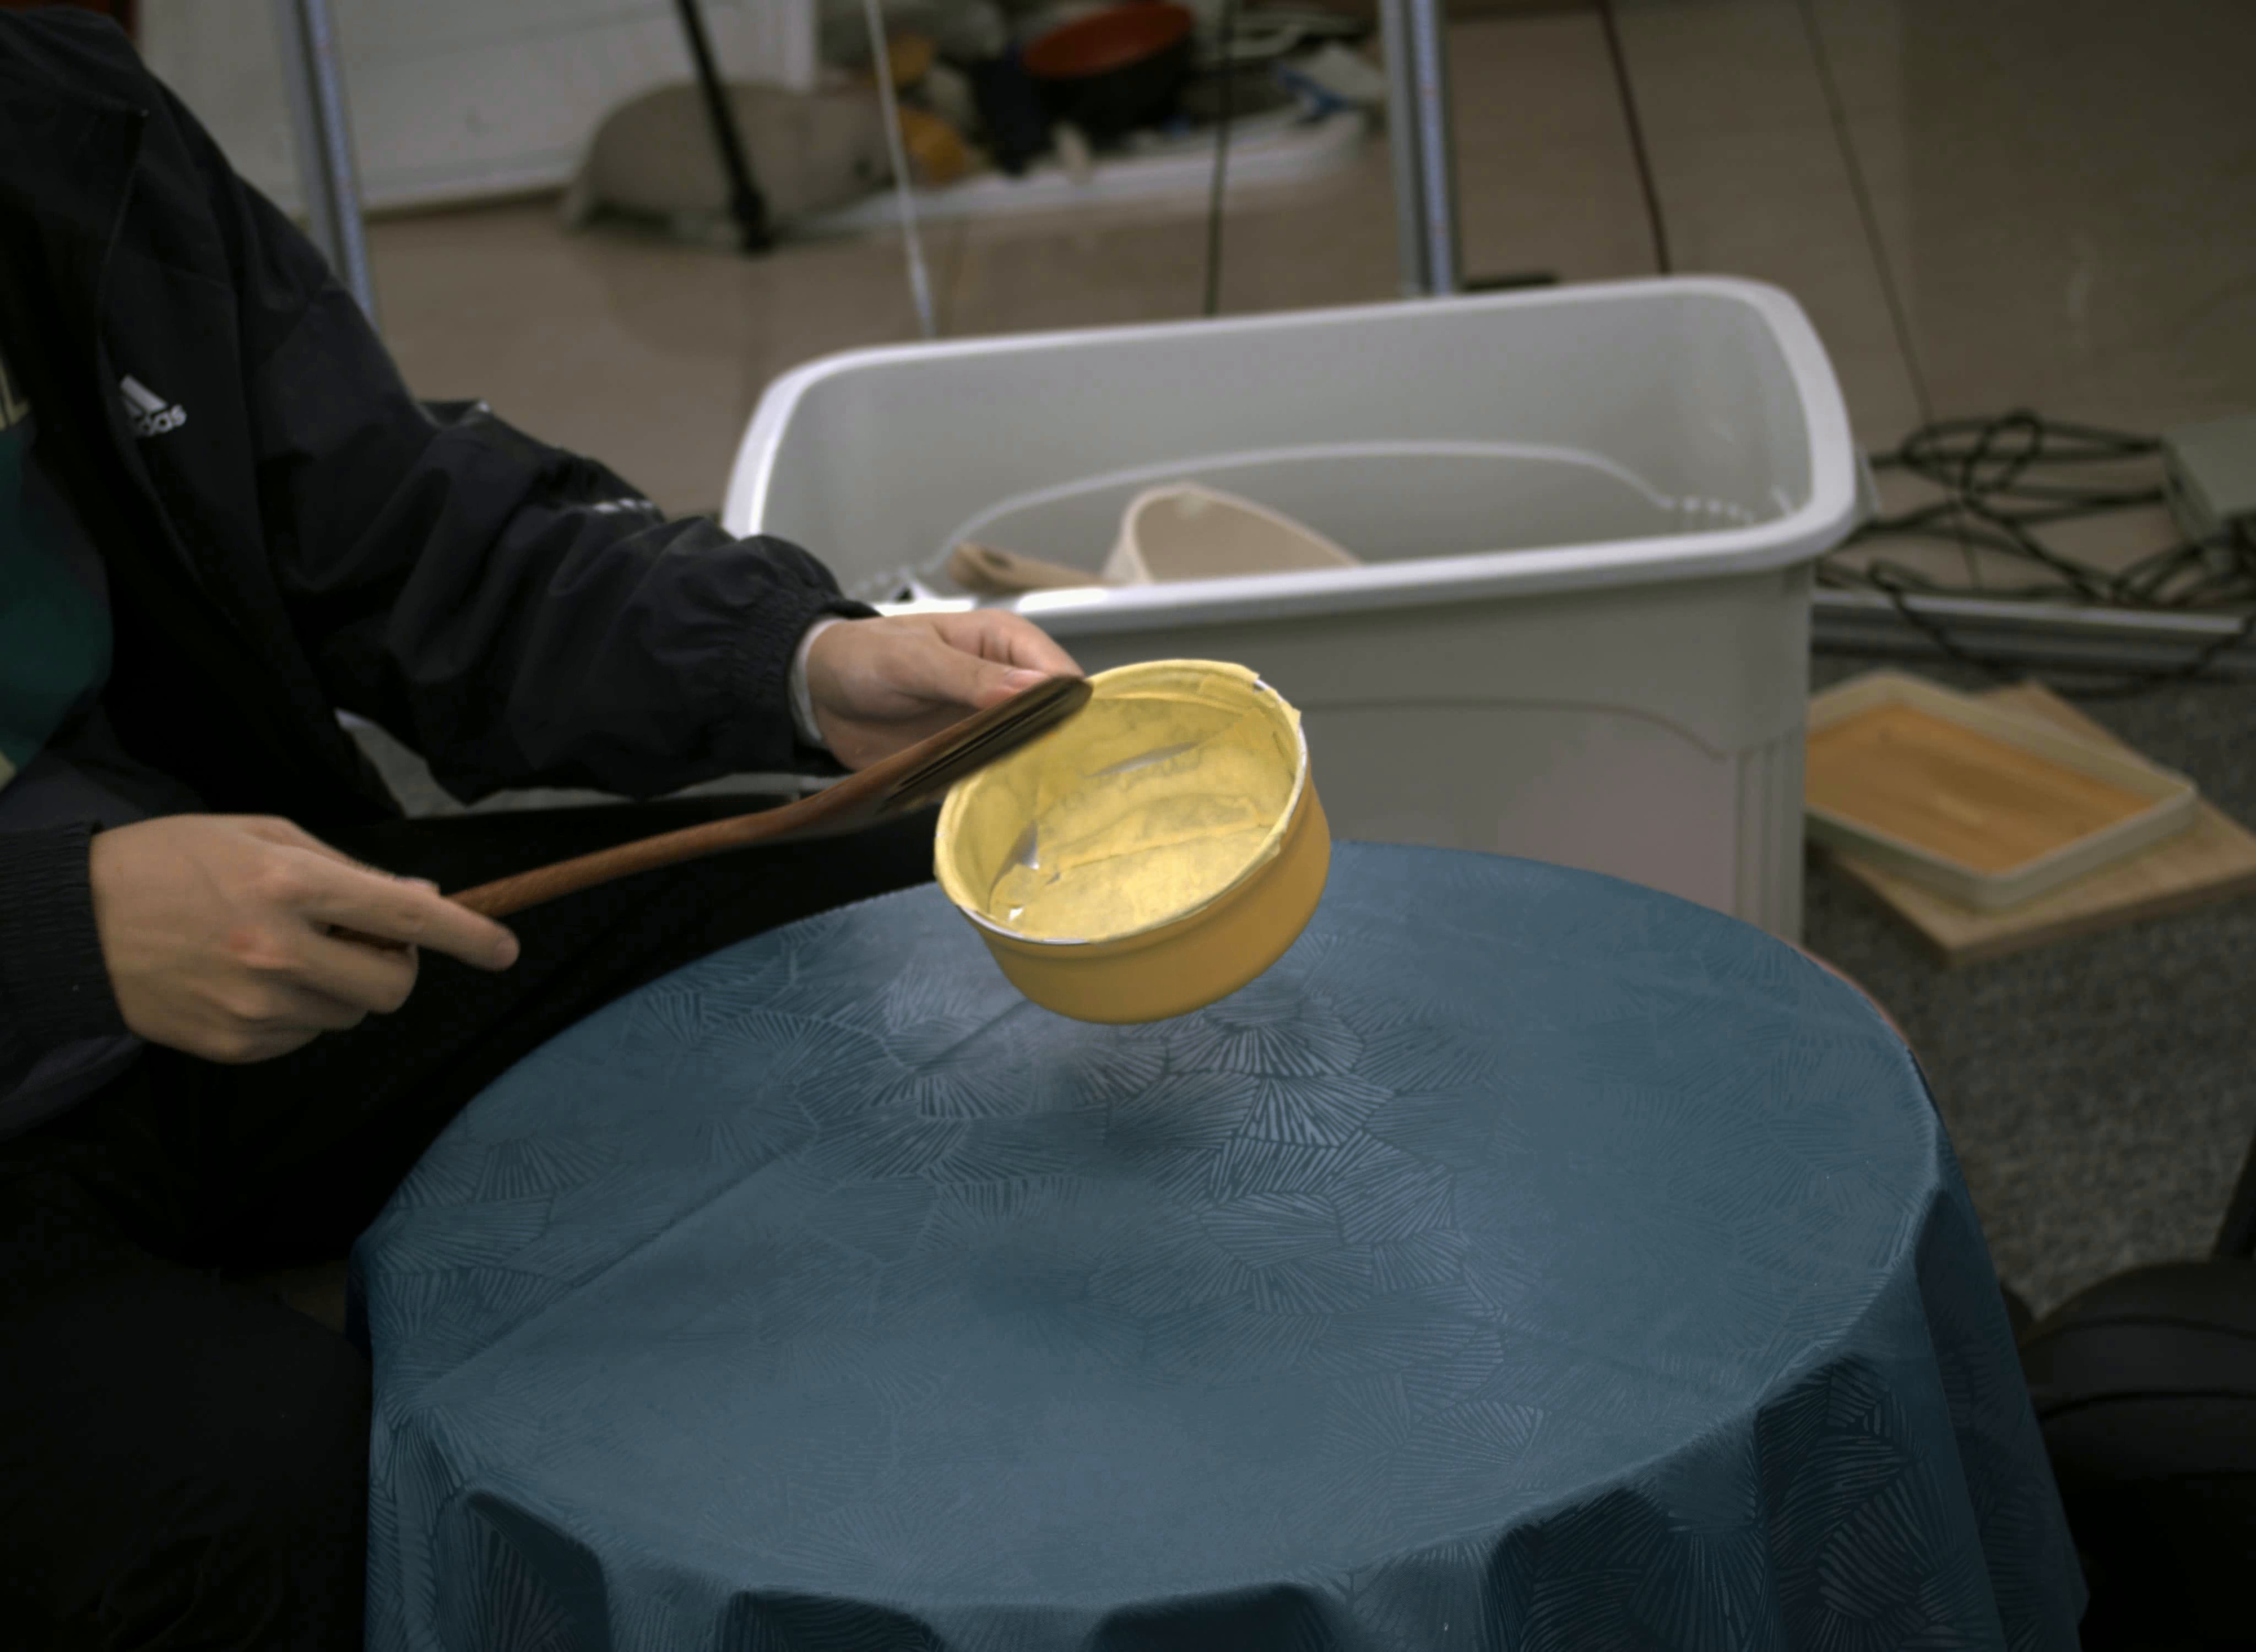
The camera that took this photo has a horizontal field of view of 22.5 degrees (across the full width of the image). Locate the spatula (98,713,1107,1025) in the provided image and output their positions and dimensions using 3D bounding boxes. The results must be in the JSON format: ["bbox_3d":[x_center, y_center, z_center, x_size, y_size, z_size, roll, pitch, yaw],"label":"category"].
[{"bbox_3d":[-0.192,0.021,2.092,0.386,0.024,0.086,-14,-13,0],"label":"spatula"}]

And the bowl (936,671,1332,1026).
[{"bbox_3d":[0.001,0.006,2.227,0.152,0.075,0.177,-37,43,-14],"label":"bowl"}]
